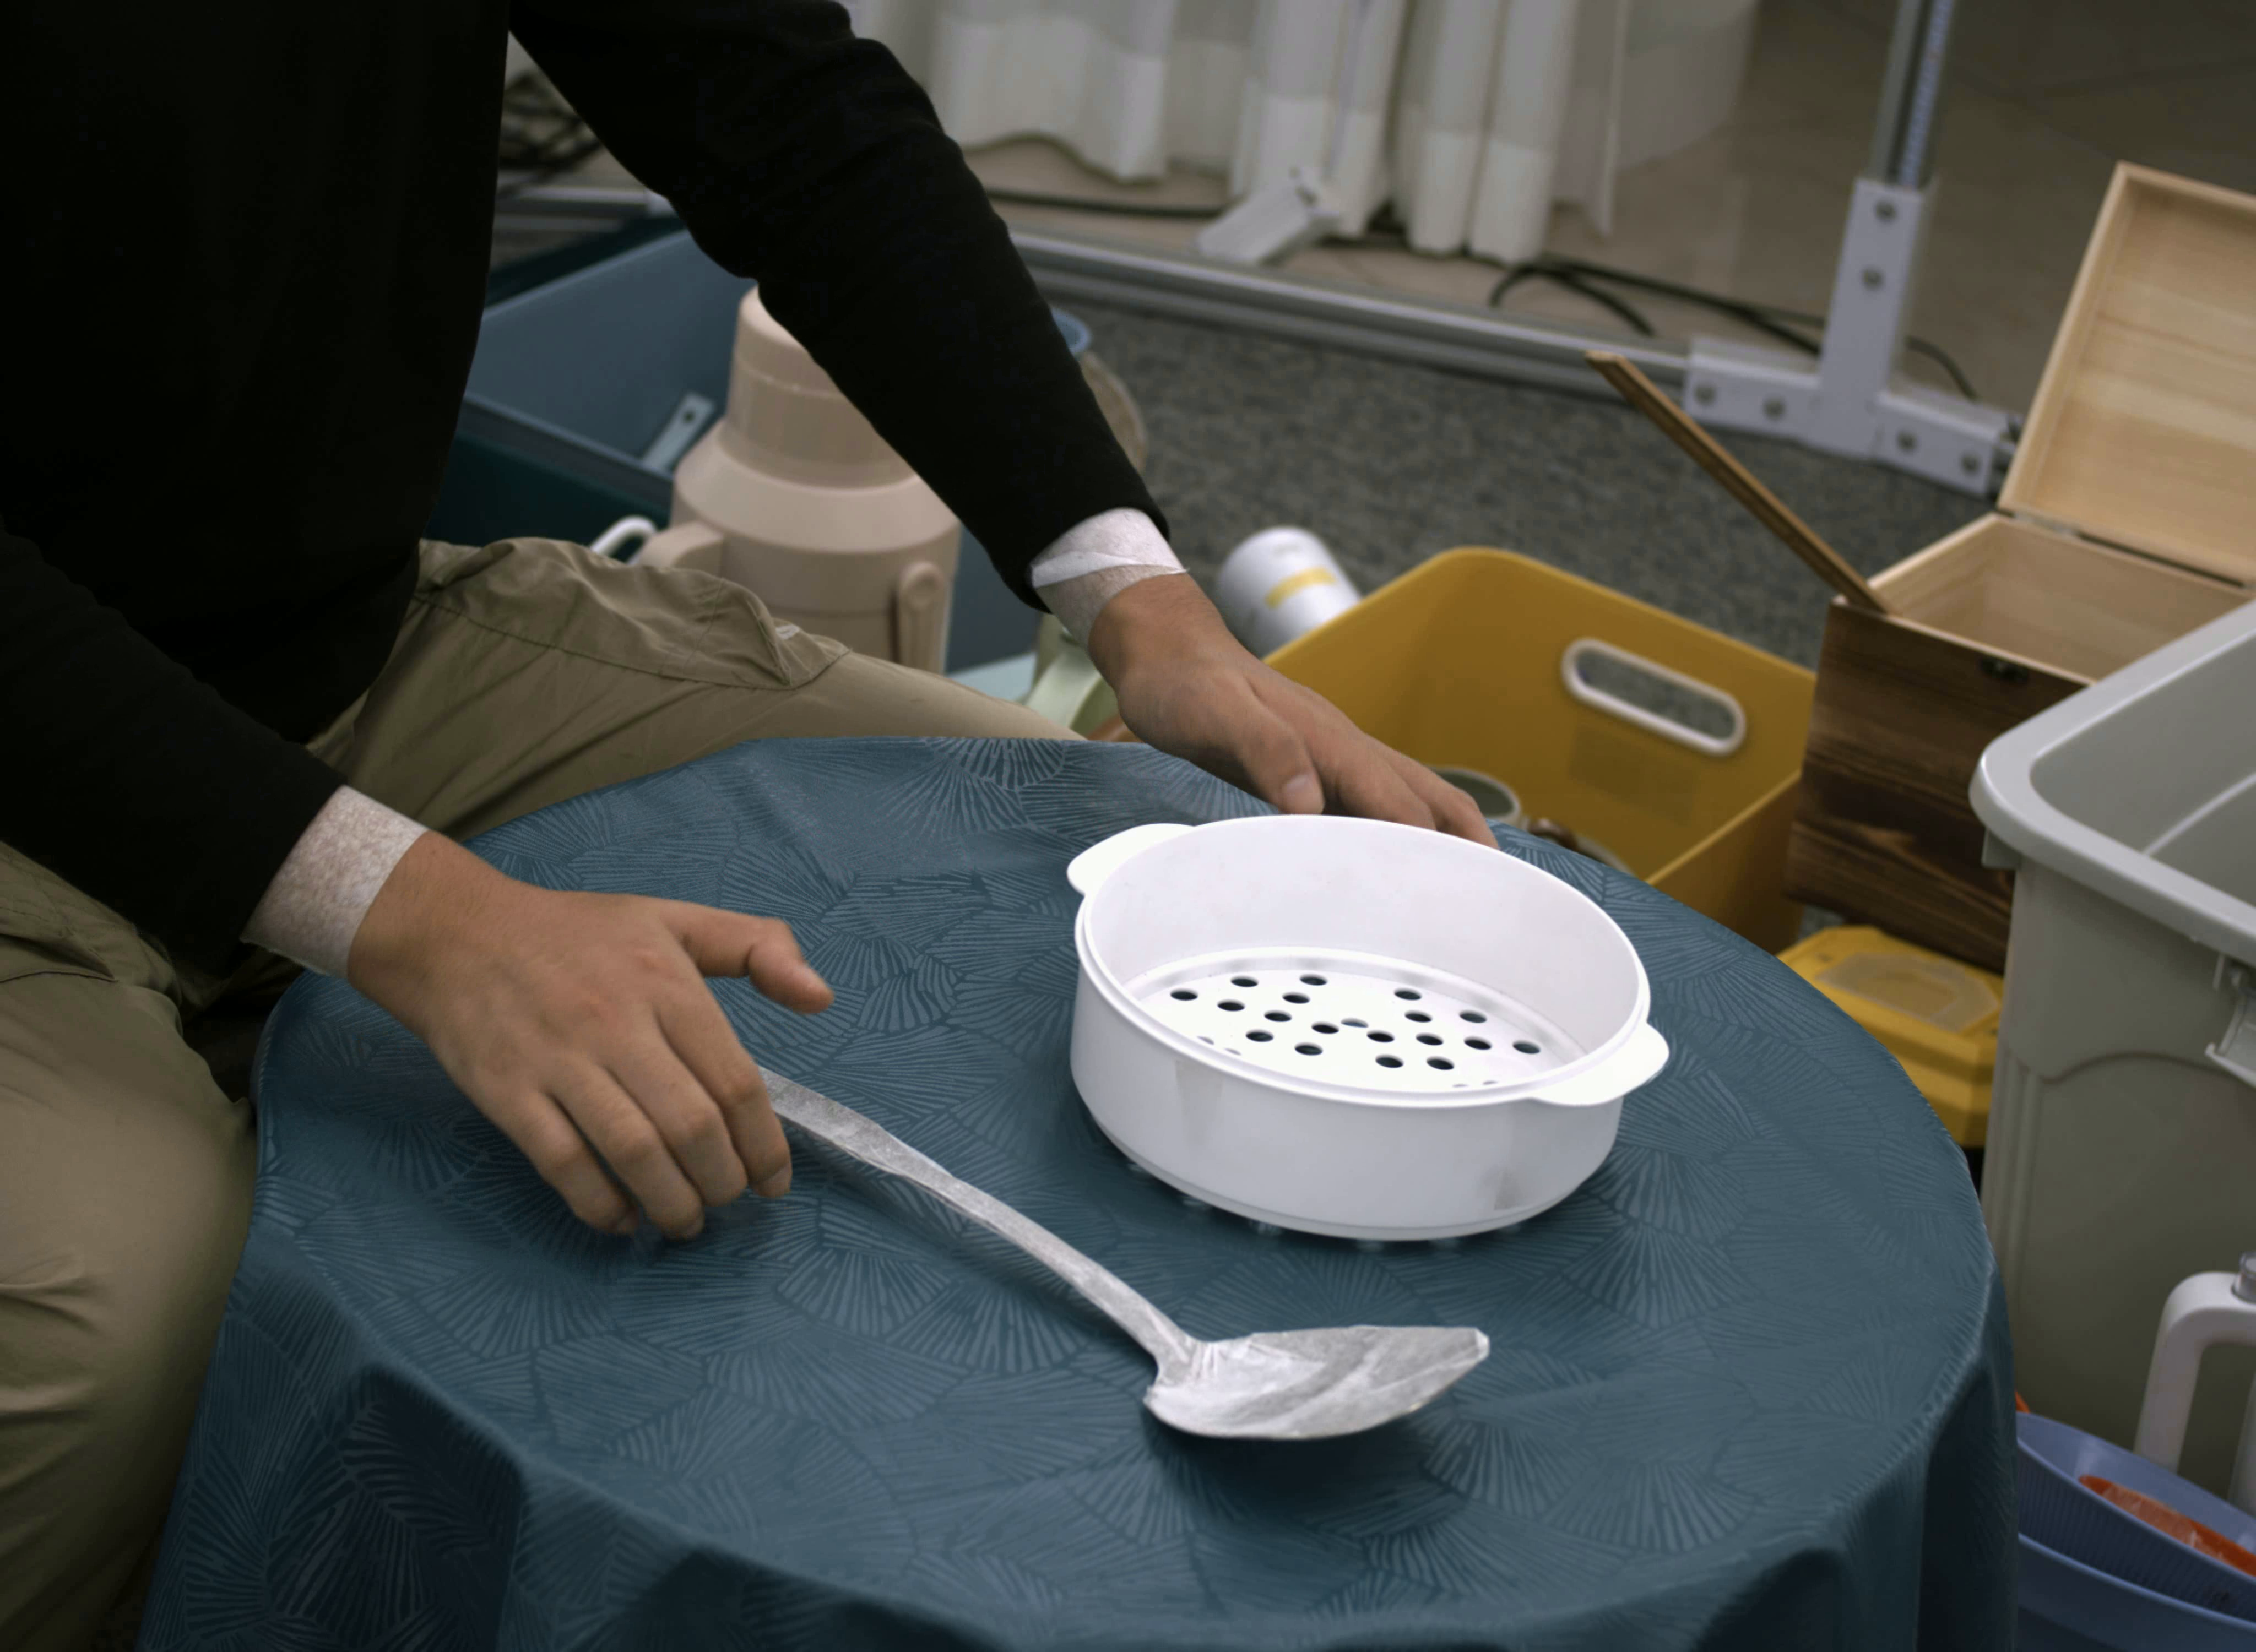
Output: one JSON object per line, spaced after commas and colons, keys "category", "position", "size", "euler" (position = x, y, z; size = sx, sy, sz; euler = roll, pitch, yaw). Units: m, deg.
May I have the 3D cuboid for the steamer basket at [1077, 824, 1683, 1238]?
{"category": "steamer basket", "position": [0.082, 0.071, 1.845], "size": [0.232, 0.069, 0.201], "euler": [23, 30, 31]}

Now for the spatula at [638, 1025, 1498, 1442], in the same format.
{"category": "spatula", "position": [-0.041, 0.125, 1.748], "size": [0.367, 0.044, 0.098], "euler": [27, 35, 35]}
